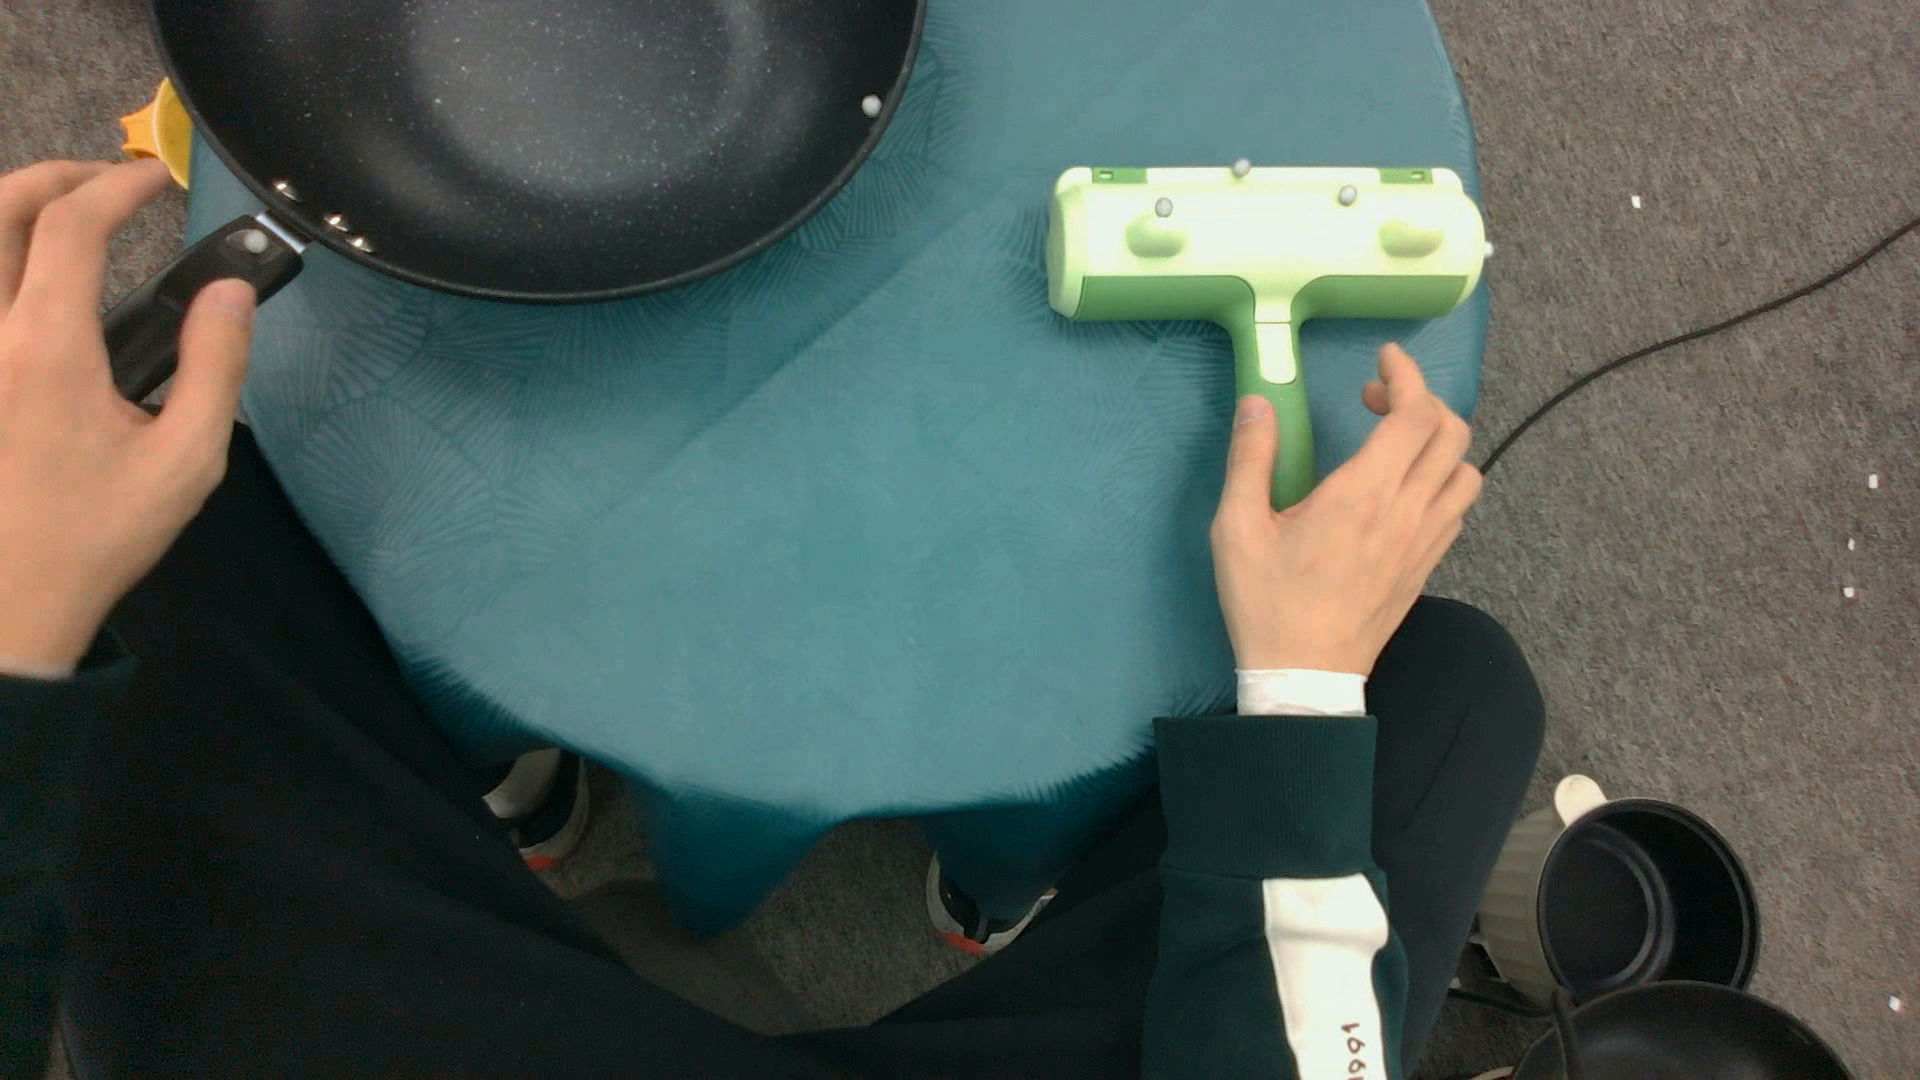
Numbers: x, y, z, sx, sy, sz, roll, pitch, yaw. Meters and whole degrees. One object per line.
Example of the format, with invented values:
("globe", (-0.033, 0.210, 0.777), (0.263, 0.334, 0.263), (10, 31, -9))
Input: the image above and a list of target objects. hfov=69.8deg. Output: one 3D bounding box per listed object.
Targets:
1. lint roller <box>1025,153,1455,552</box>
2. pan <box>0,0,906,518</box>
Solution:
("lint roller", (0.135, -0.091, 0.620), (0.199, 0.082, 0.184), (-2, 74, -9))
("pan", (-0.225, -0.177, 0.573), (0.310, 0.111, 0.478), (34, 76, 2))
